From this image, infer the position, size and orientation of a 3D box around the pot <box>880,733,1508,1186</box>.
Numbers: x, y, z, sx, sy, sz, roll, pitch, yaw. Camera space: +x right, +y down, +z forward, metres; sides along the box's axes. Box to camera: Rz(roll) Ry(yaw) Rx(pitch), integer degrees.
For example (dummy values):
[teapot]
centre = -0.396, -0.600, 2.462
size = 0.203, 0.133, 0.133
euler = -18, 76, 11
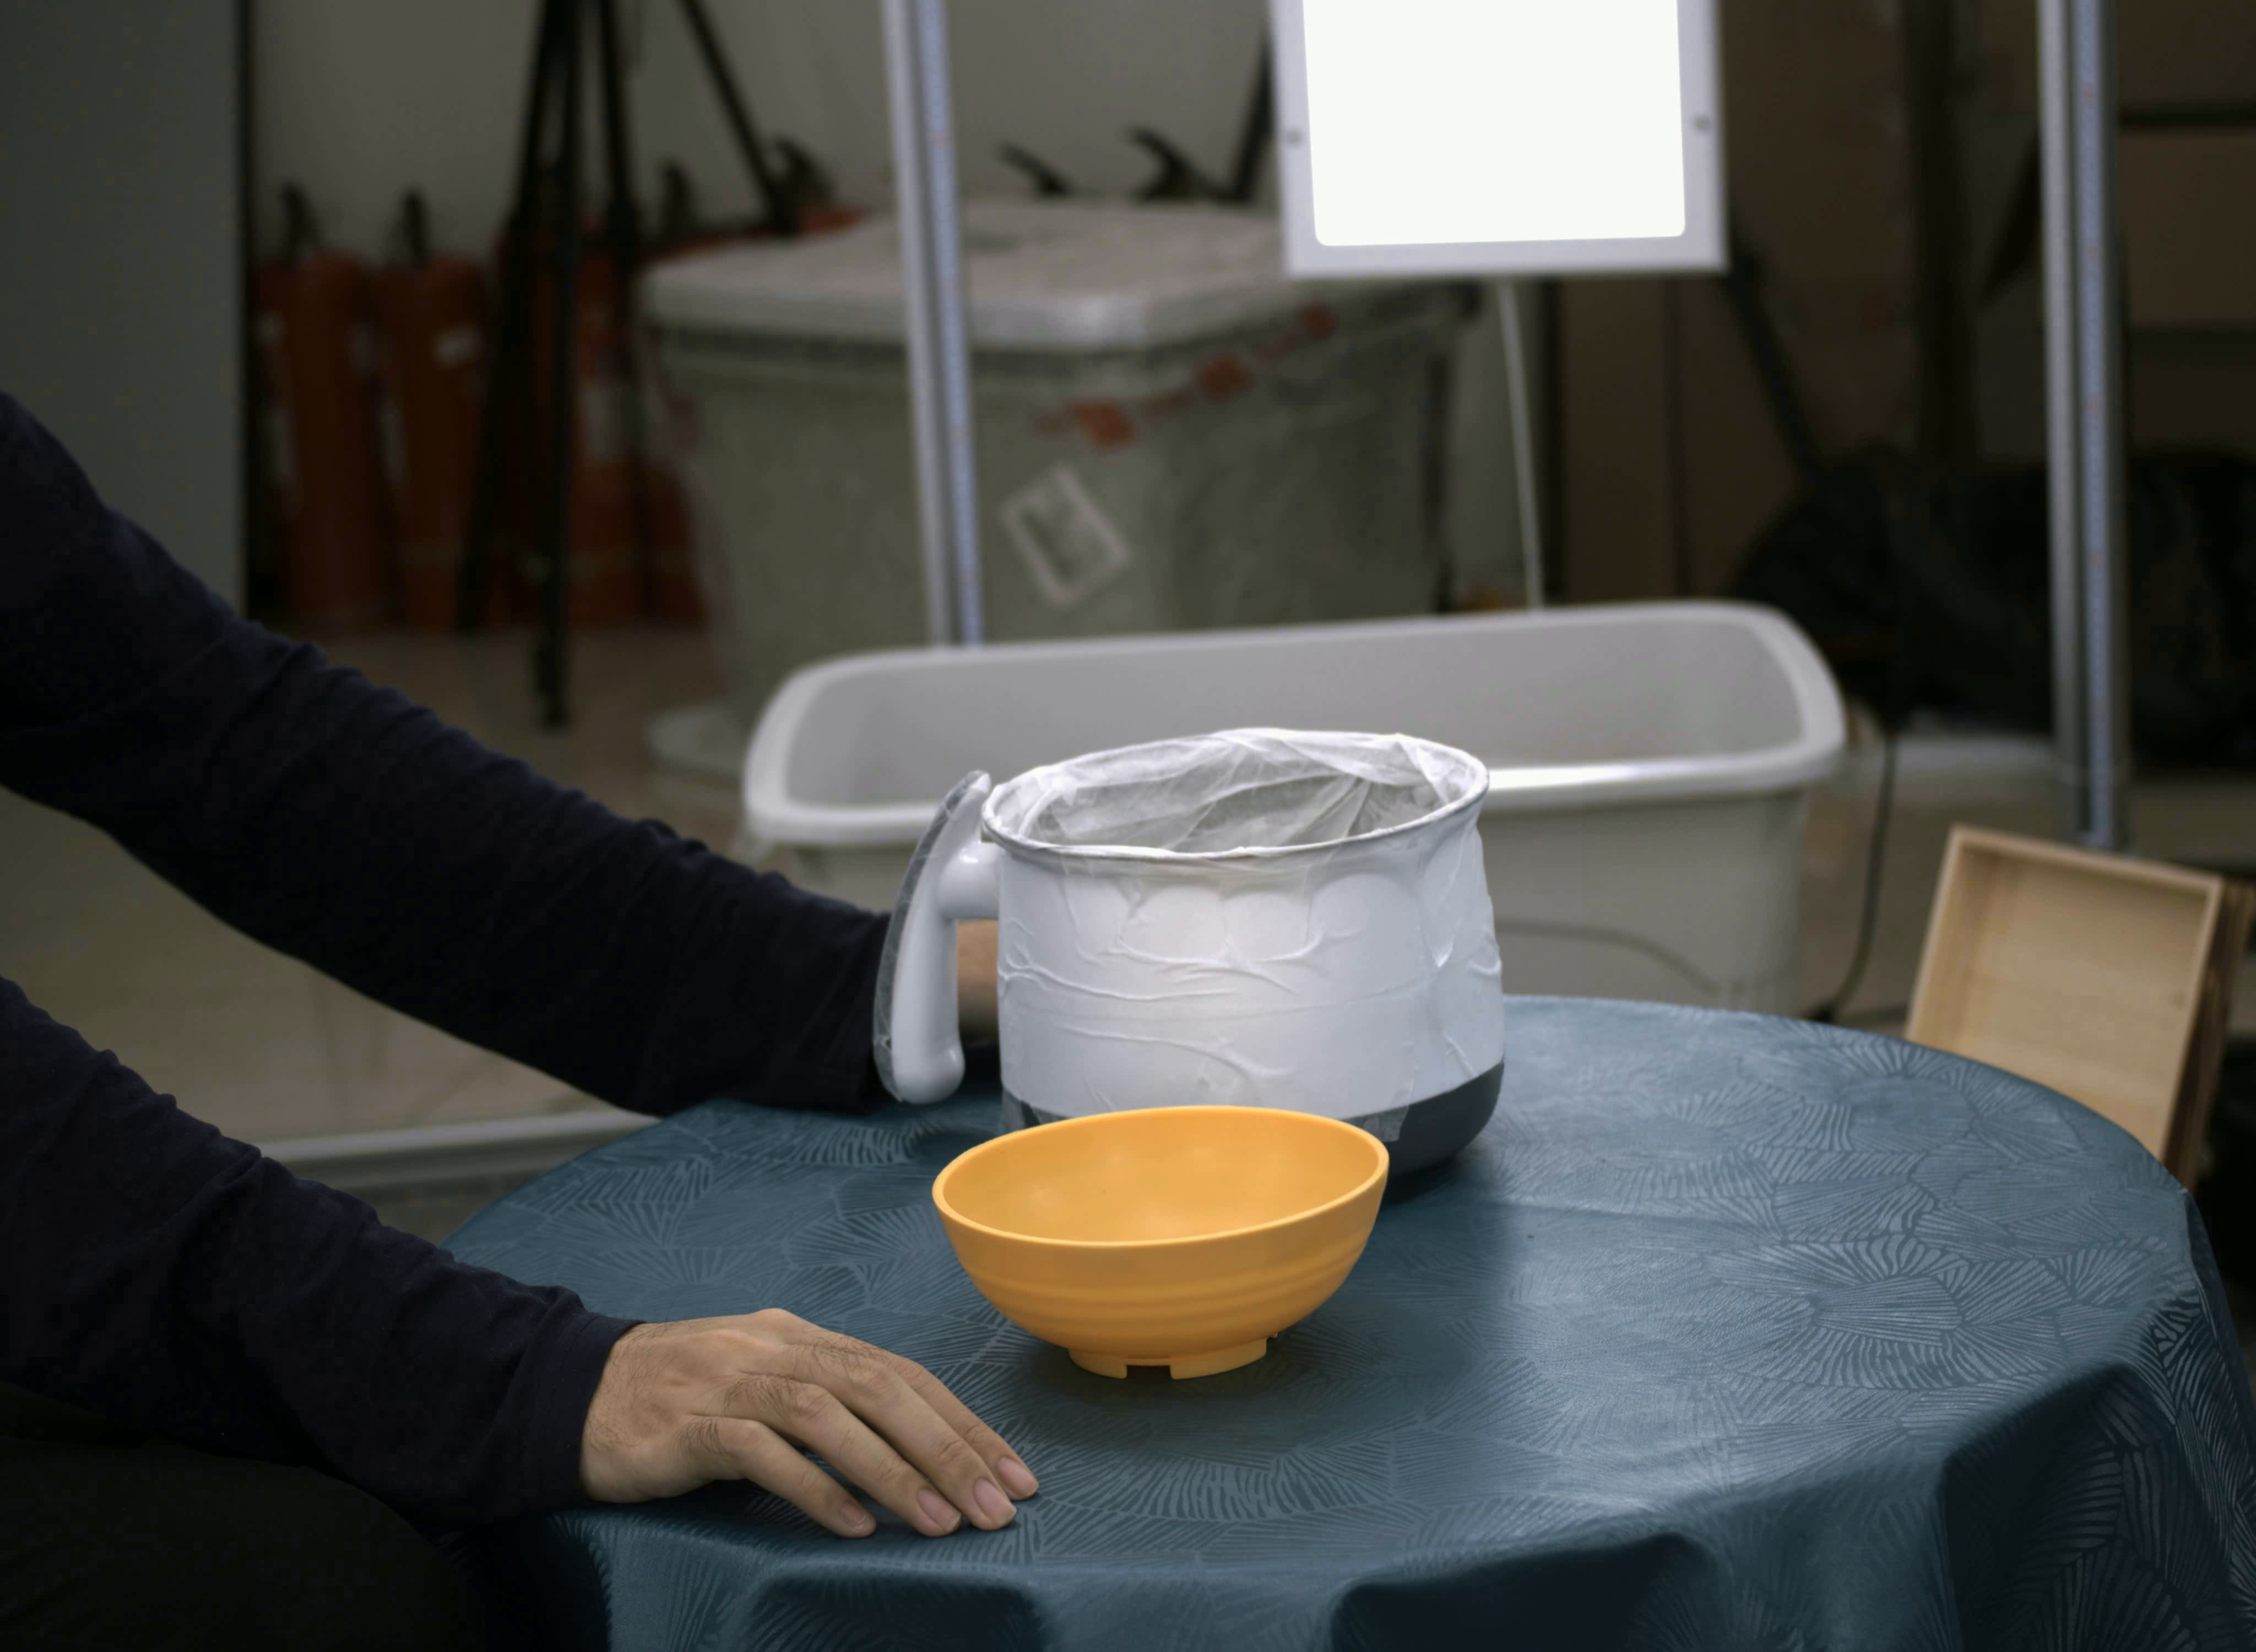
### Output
[pot]
centre = 0.017, 0.050, 1.930
size = 0.237, 0.137, 0.175
euler = 0, 14, 25

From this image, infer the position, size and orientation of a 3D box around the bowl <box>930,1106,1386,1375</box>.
[bowl]
centre = 0.010, 0.134, 1.734
size = 0.145, 0.060, 0.145
euler = -3, 13, -1
